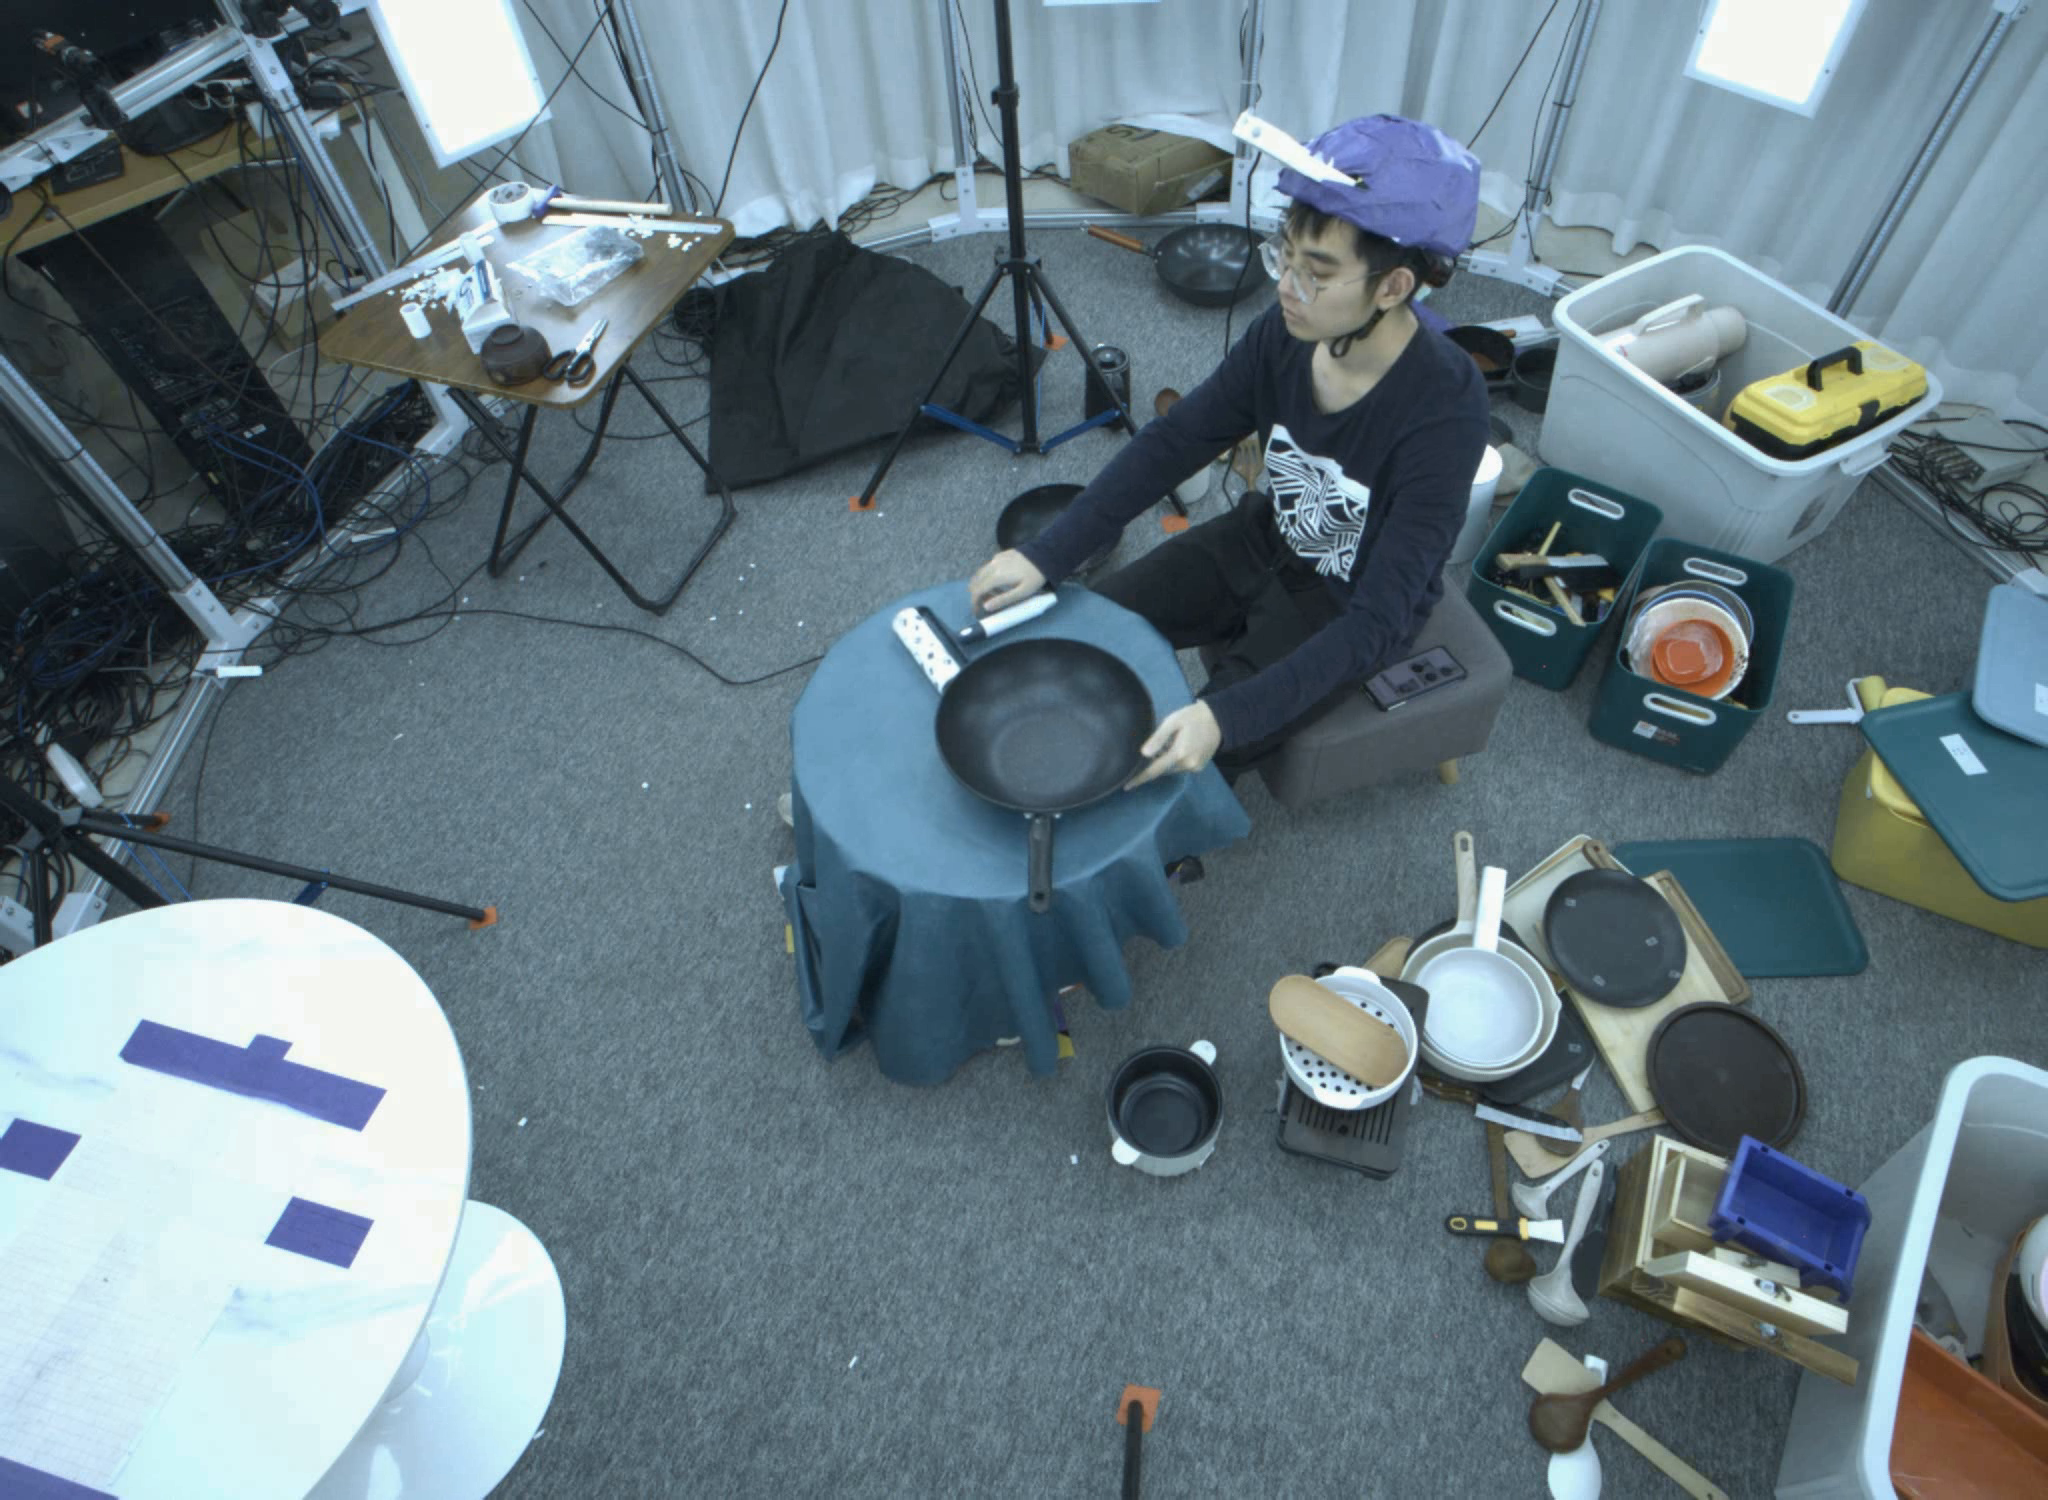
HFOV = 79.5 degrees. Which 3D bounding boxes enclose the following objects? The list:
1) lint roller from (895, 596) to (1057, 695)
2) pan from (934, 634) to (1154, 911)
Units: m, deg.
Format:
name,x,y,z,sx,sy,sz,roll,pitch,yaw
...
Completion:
name,x,y,z,sx,sy,sz,roll,pitch,yaw
lint roller,-0.058,-0.193,1.909,0.249,0.051,0.173,-27,57,-19
pan,0.028,0.037,1.701,0.310,0.113,0.472,-1,54,3
